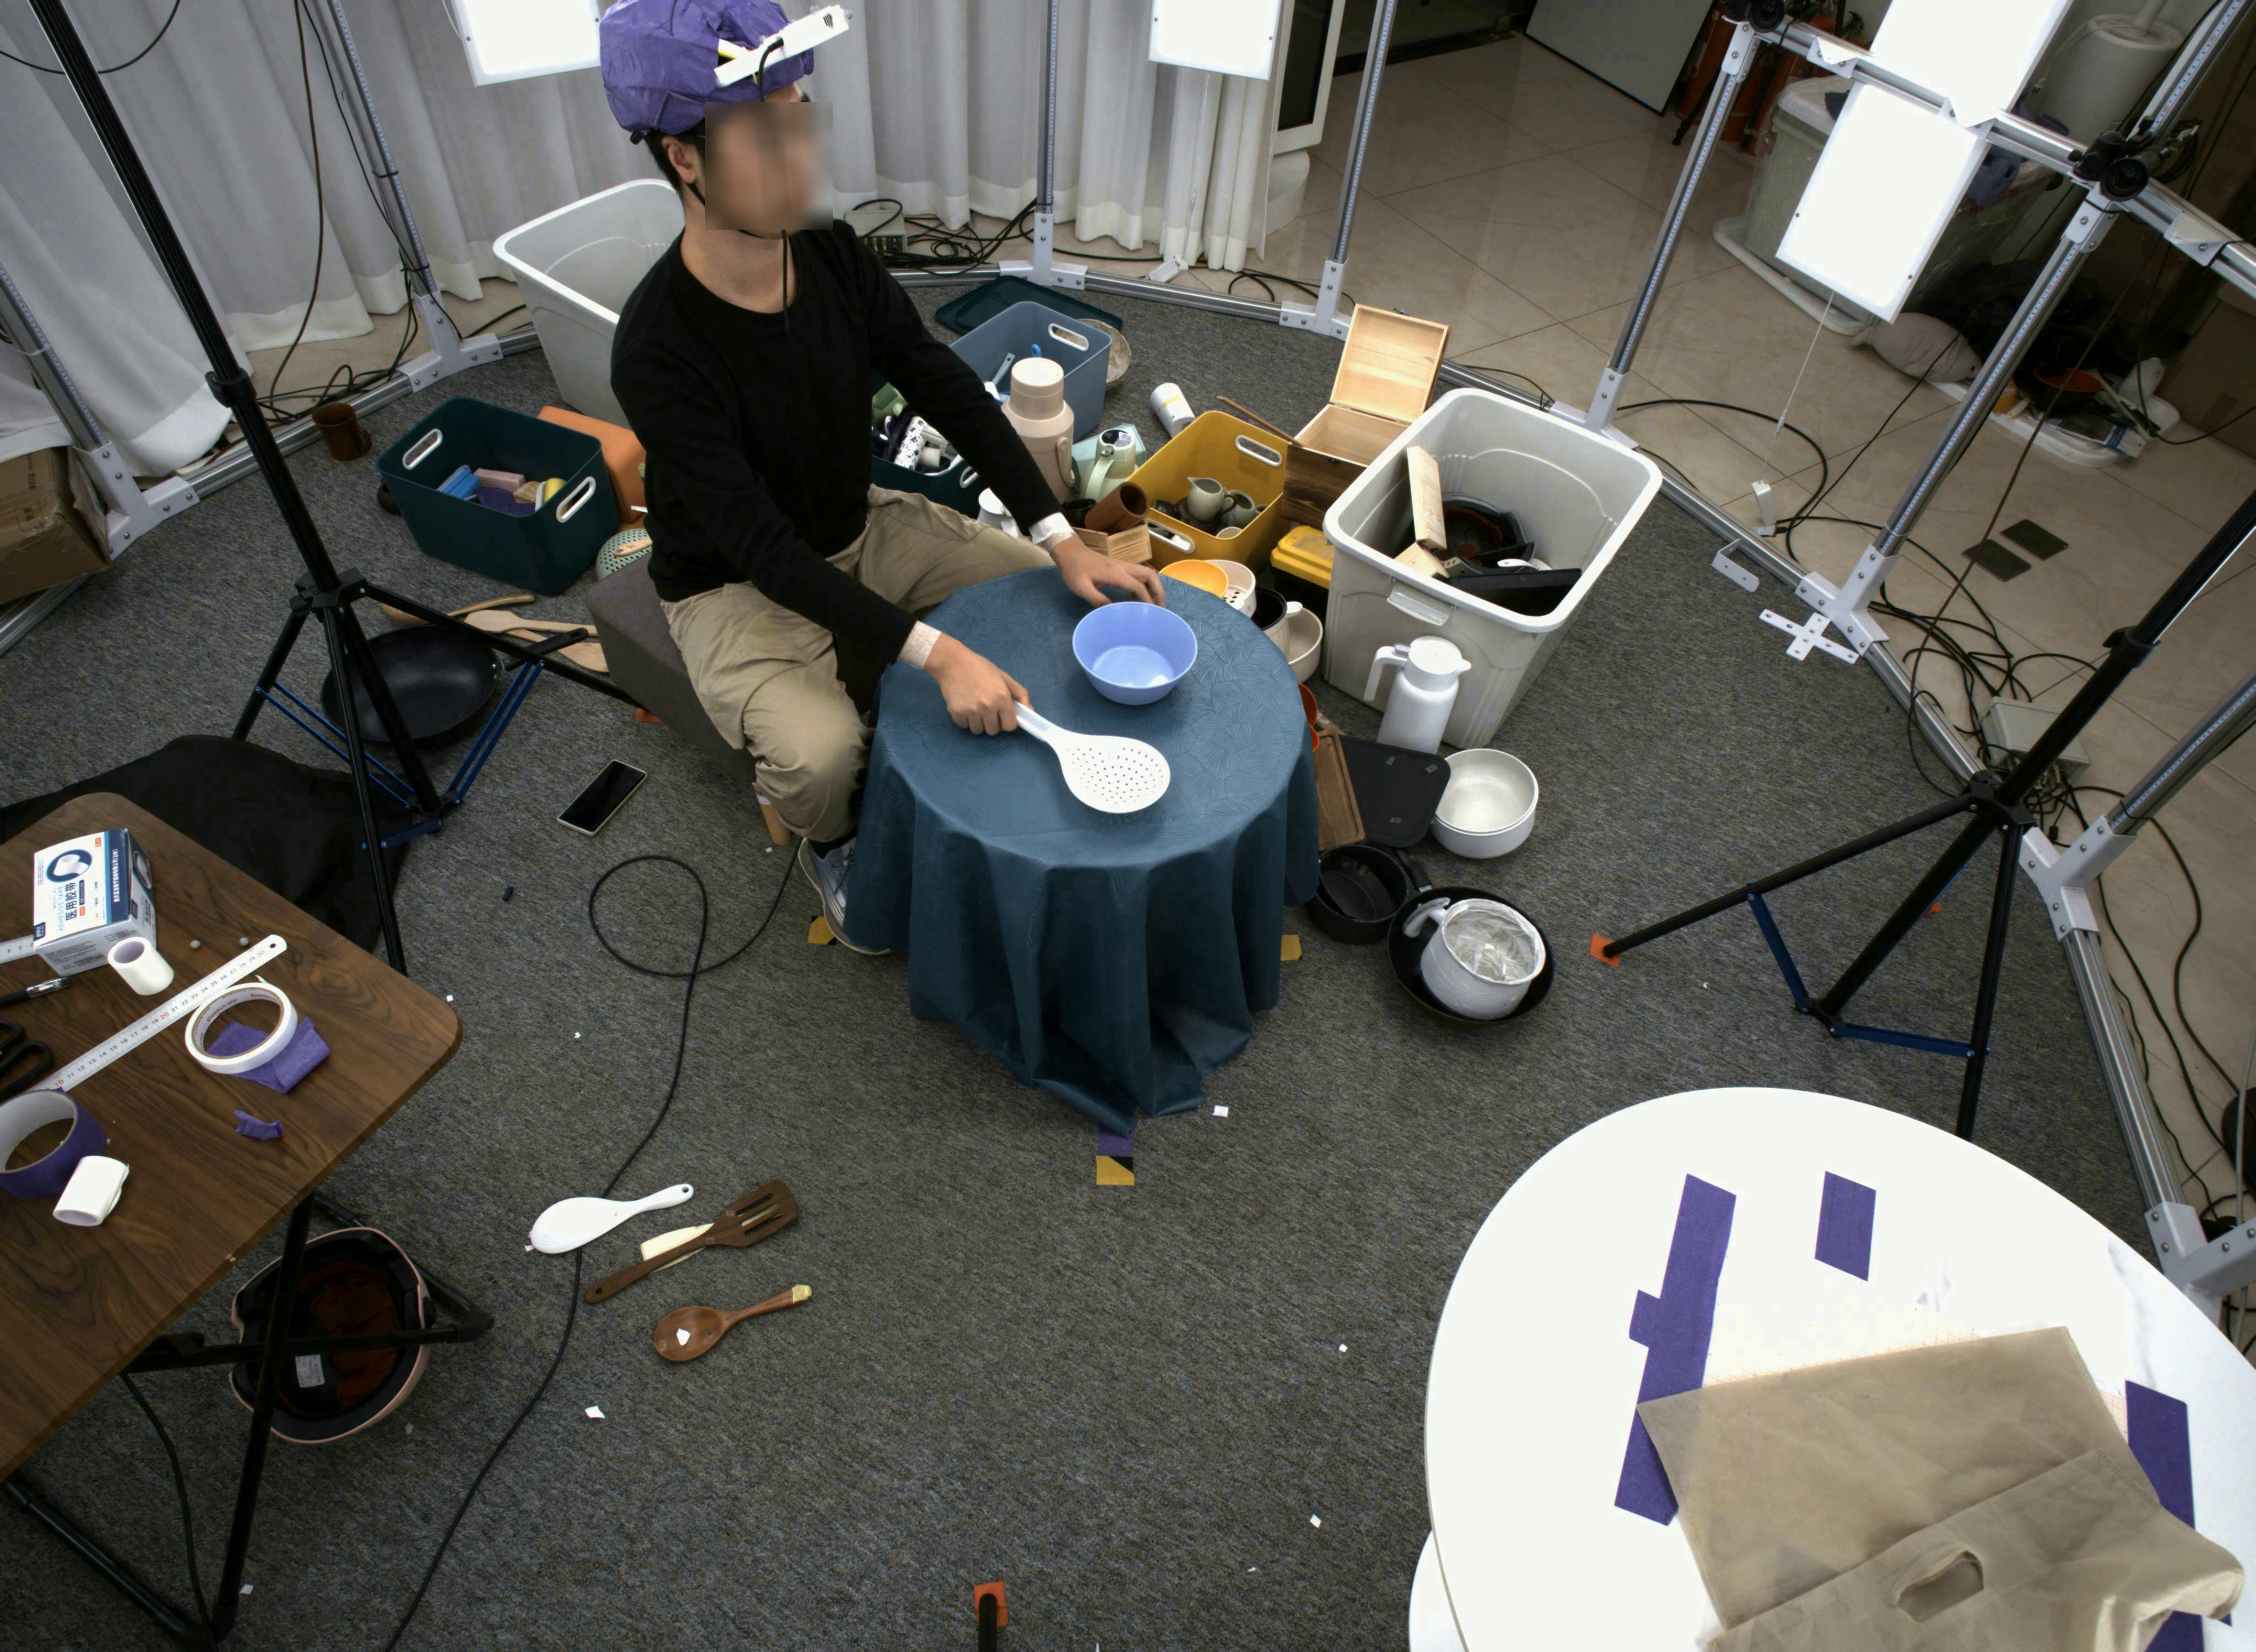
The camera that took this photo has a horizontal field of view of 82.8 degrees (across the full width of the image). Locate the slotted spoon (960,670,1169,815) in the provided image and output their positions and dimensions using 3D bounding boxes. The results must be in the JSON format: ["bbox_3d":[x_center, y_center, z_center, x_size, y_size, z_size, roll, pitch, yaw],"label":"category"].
[{"bbox_3d":[-0.096,-0.119,1.727,0.354,0.044,0.137,37,57,21],"label":"slotted spoon"}]

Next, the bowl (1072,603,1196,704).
[{"bbox_3d":[0.007,-0.237,1.831,0.176,0.068,0.180,1,49,-2],"label":"bowl"}]
